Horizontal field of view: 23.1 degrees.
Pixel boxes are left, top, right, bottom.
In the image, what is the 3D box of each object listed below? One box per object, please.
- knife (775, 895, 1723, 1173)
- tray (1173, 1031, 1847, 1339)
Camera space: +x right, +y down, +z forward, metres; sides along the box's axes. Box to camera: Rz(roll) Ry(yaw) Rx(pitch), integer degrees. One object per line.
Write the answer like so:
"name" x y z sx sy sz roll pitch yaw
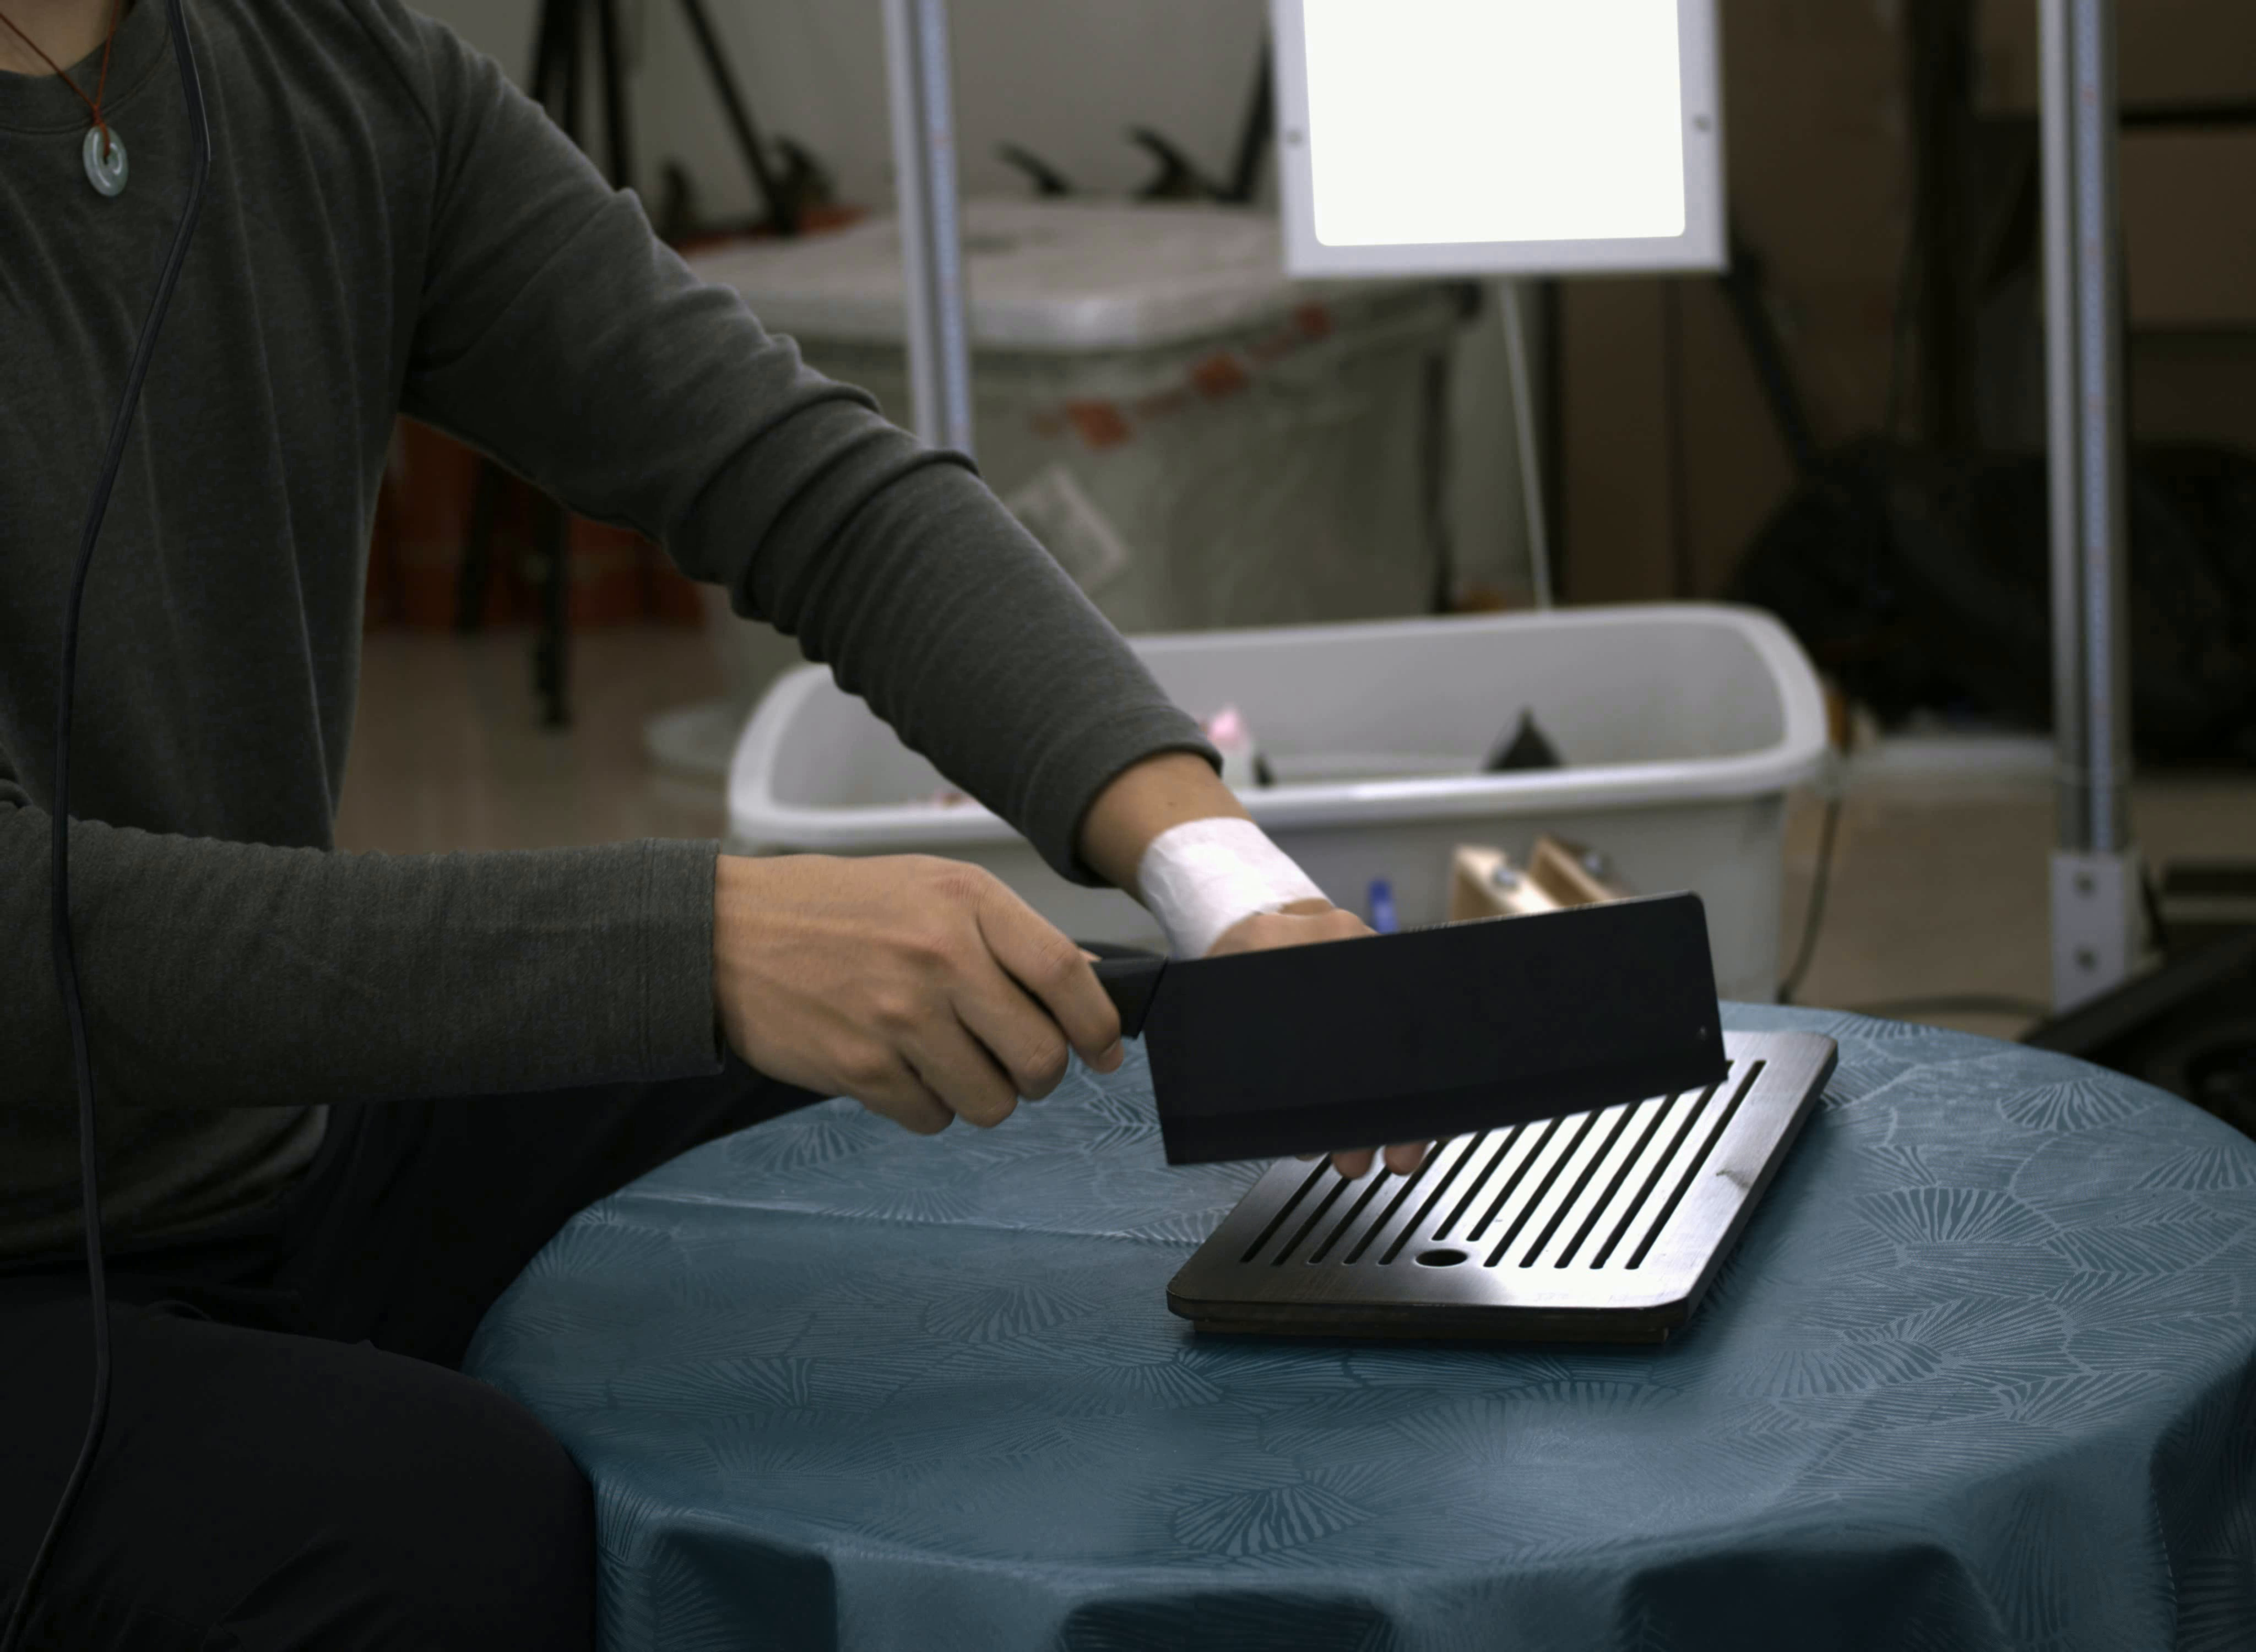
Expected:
"knife" 0.034 0.069 1.710 0.305 0.081 0.020 -4 5 16
"tray" 0.136 0.118 1.848 0.172 0.019 0.301 -1 14 19
